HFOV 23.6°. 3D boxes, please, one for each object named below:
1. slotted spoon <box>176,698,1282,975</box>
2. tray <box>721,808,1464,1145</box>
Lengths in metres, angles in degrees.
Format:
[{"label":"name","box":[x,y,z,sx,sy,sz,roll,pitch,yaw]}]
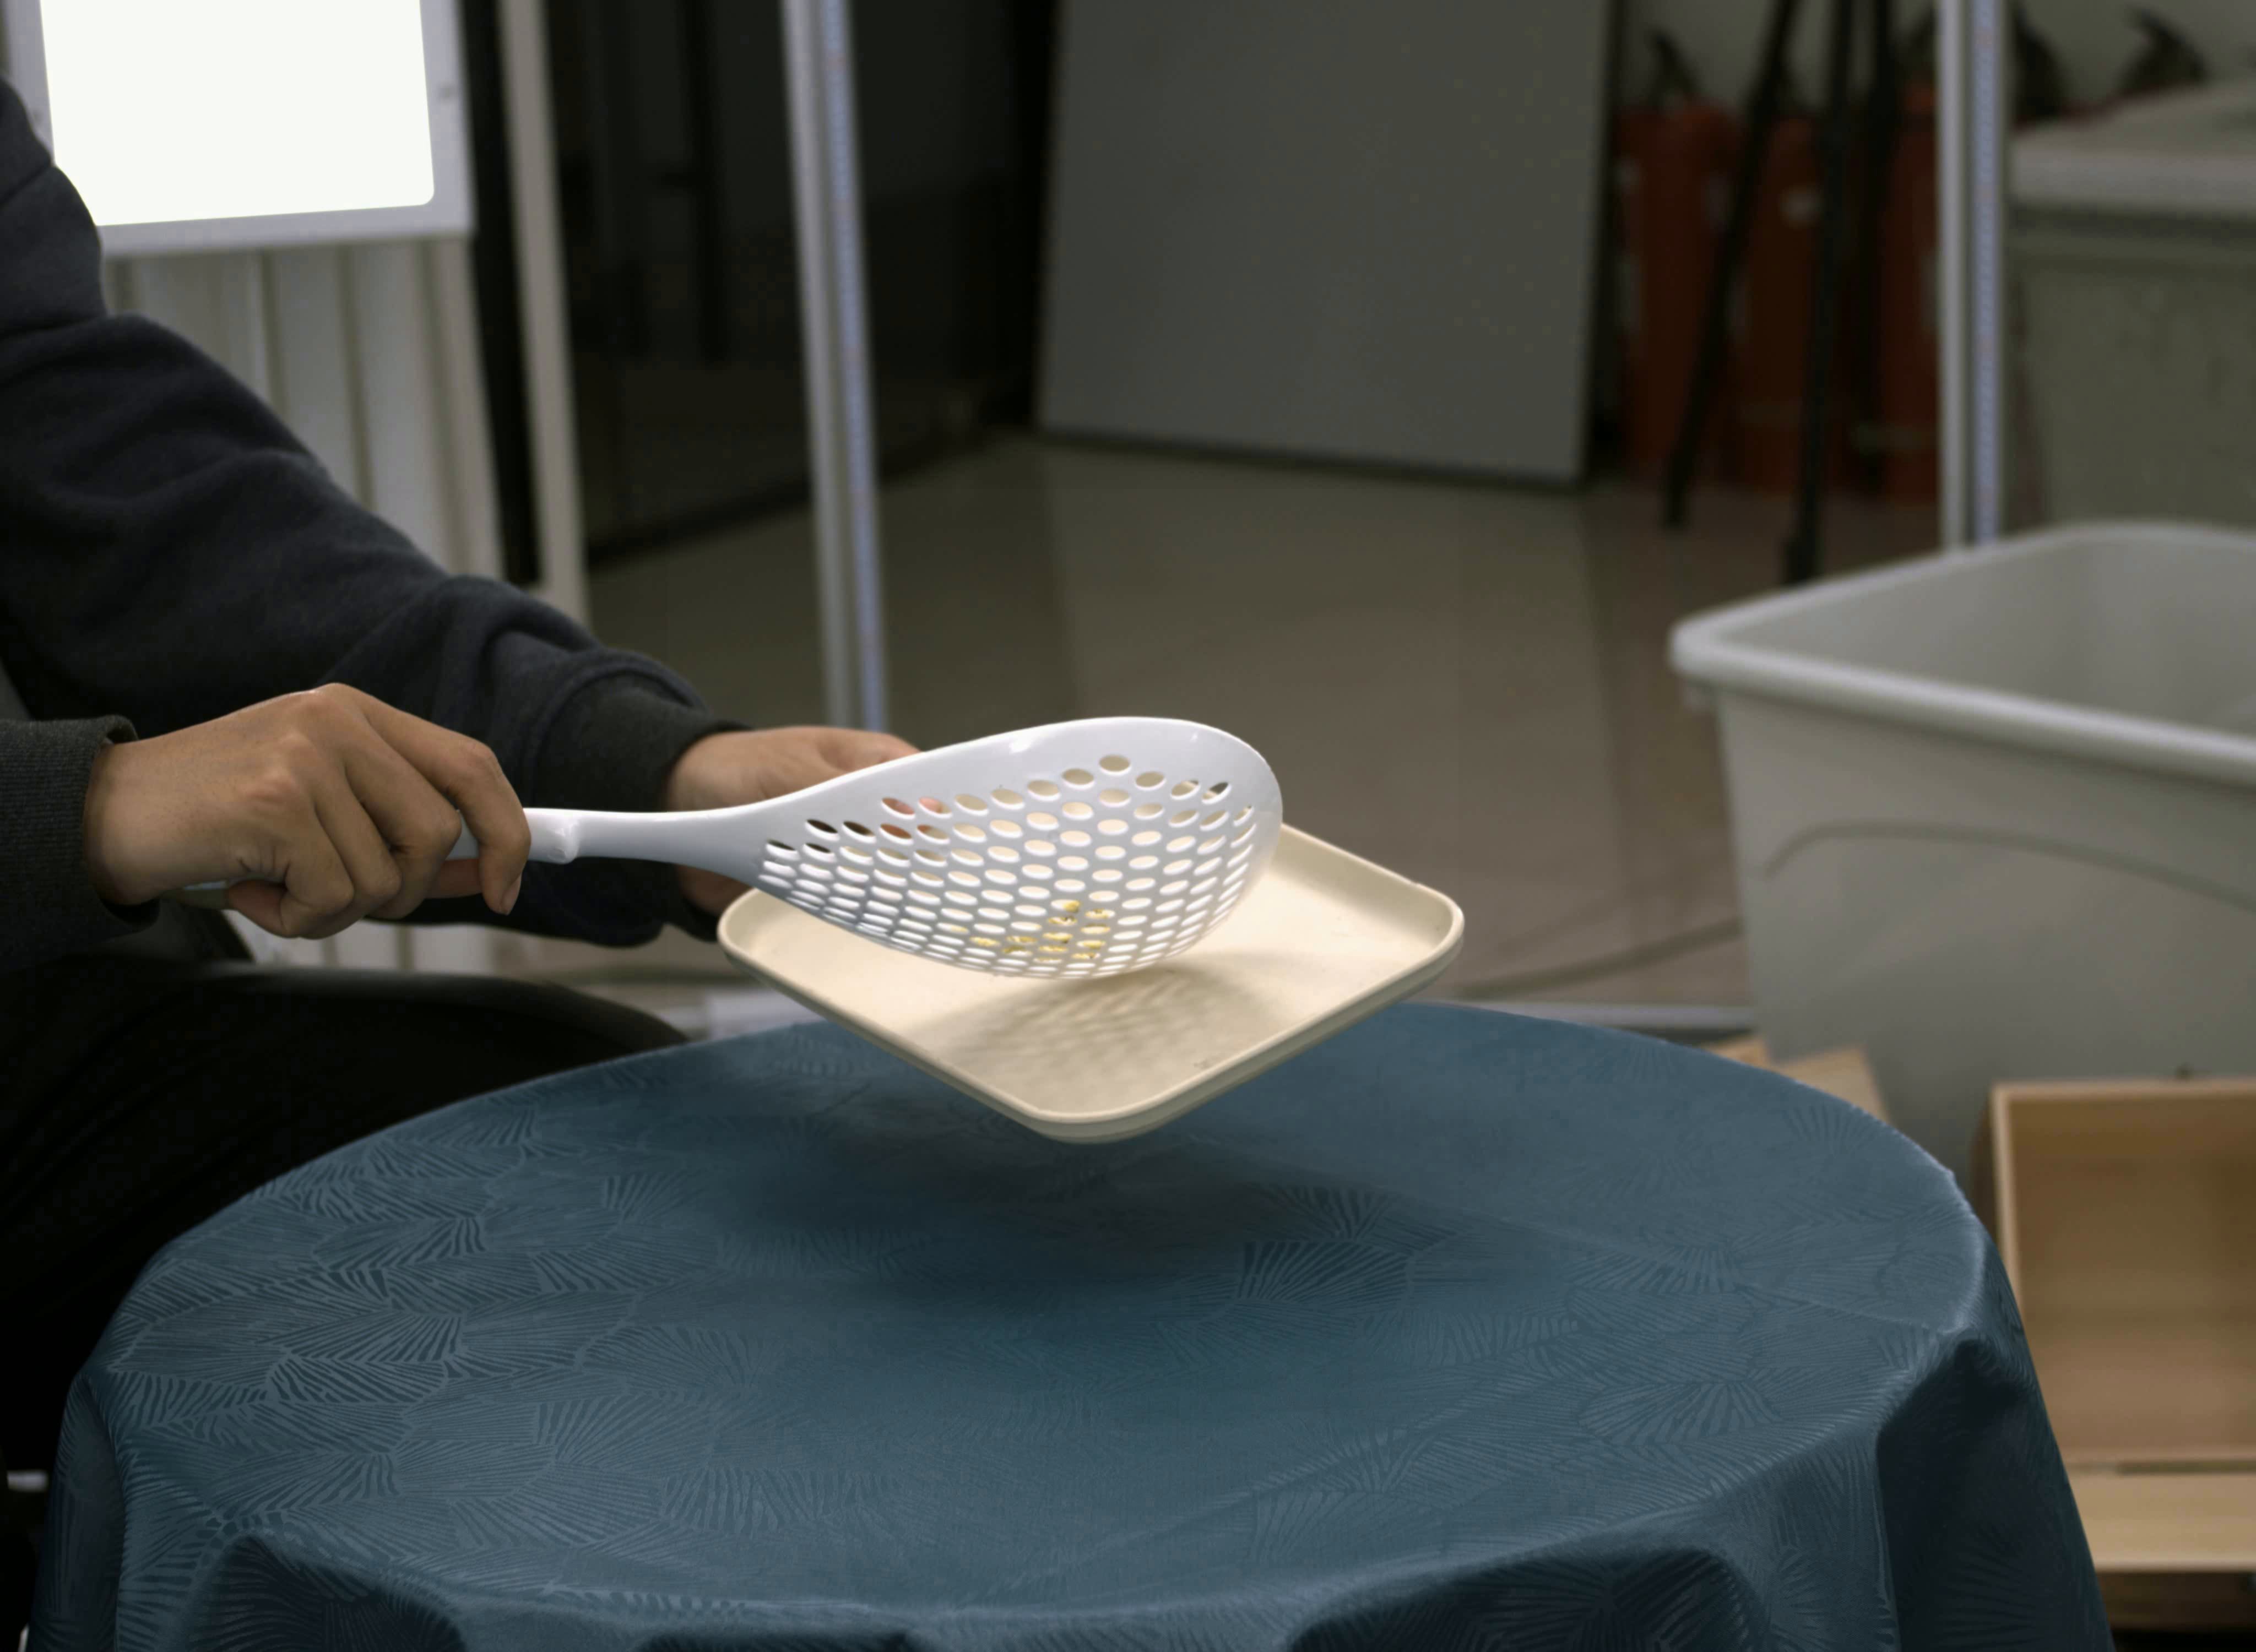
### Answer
[{"label":"slotted spoon","box":[-0.120,0.009,1.672,0.341,0.138,0.051,5,54,-11]},{"label":"tray","box":[-0.013,0.038,1.769,0.168,0.017,0.242,-27,29,-26]}]
